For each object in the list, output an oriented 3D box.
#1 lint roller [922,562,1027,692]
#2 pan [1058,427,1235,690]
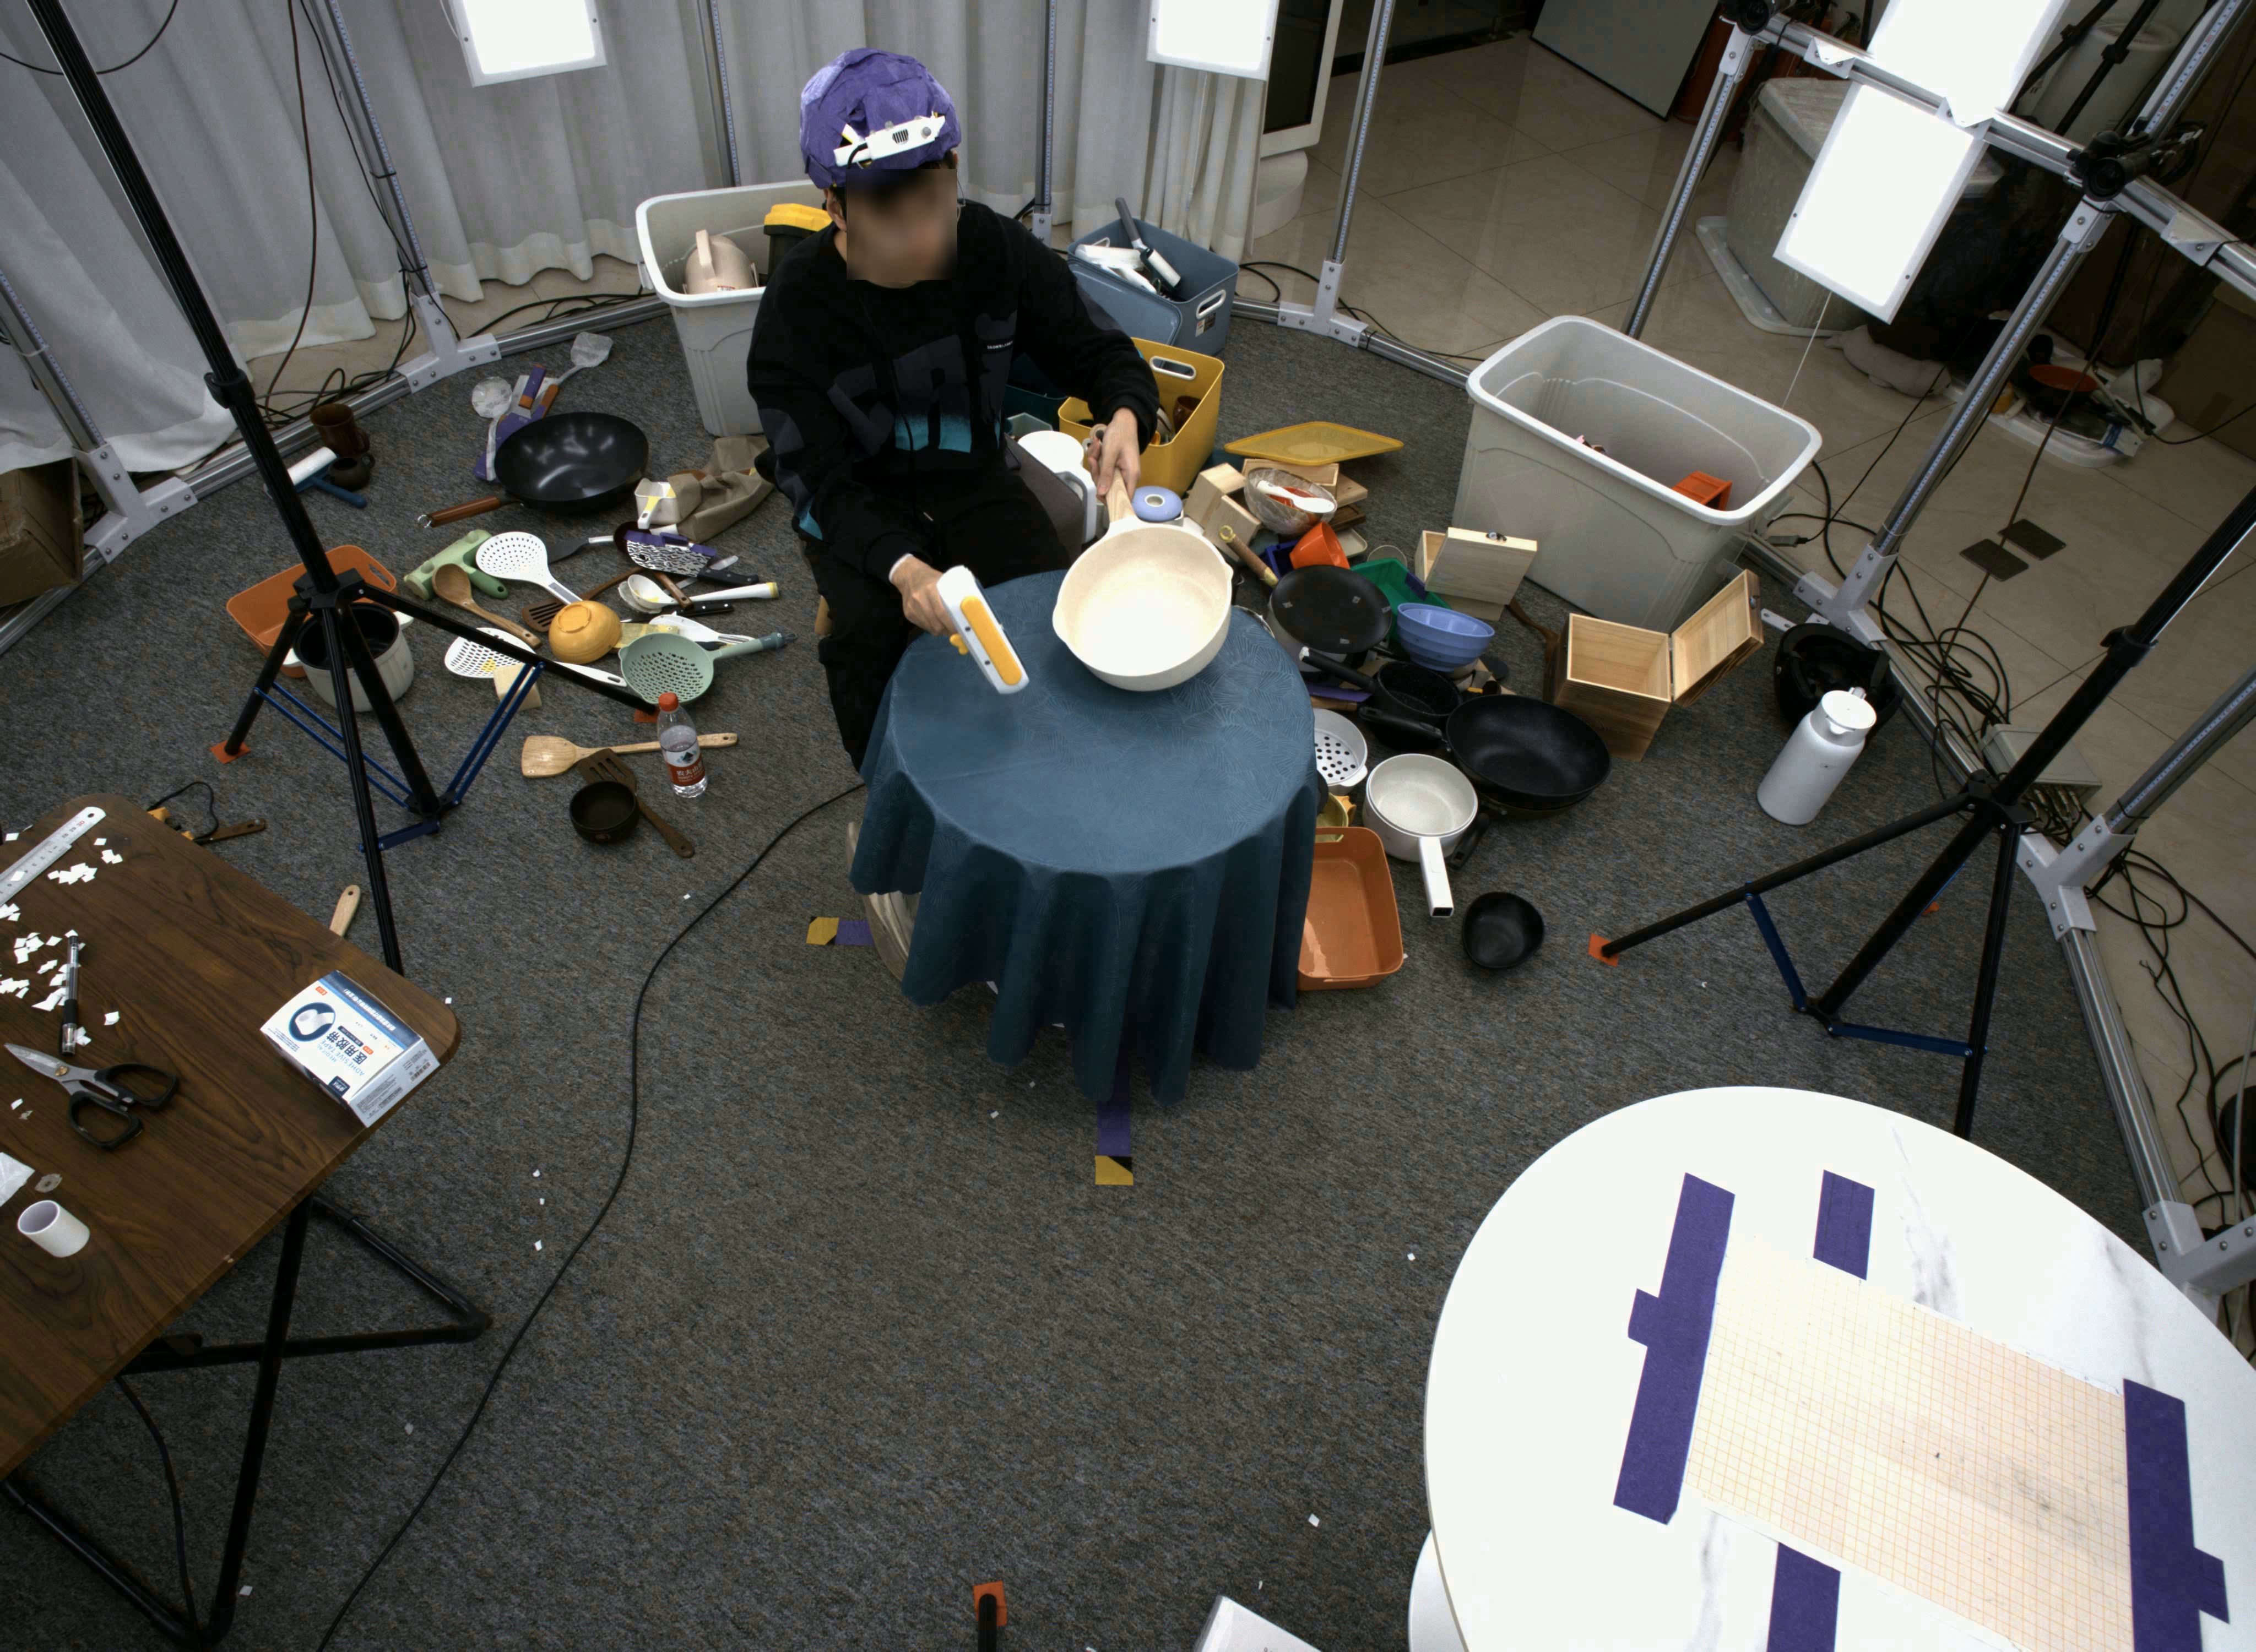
[{"bbox_3d":[-0.224,-0.279,1.747,0.074,0.189,0.196,-39,34,-3],"label":"lint roller"},{"bbox_3d":[0.013,-0.390,1.878,0.263,0.100,0.444,-18,61,8],"label":"pan"}]
